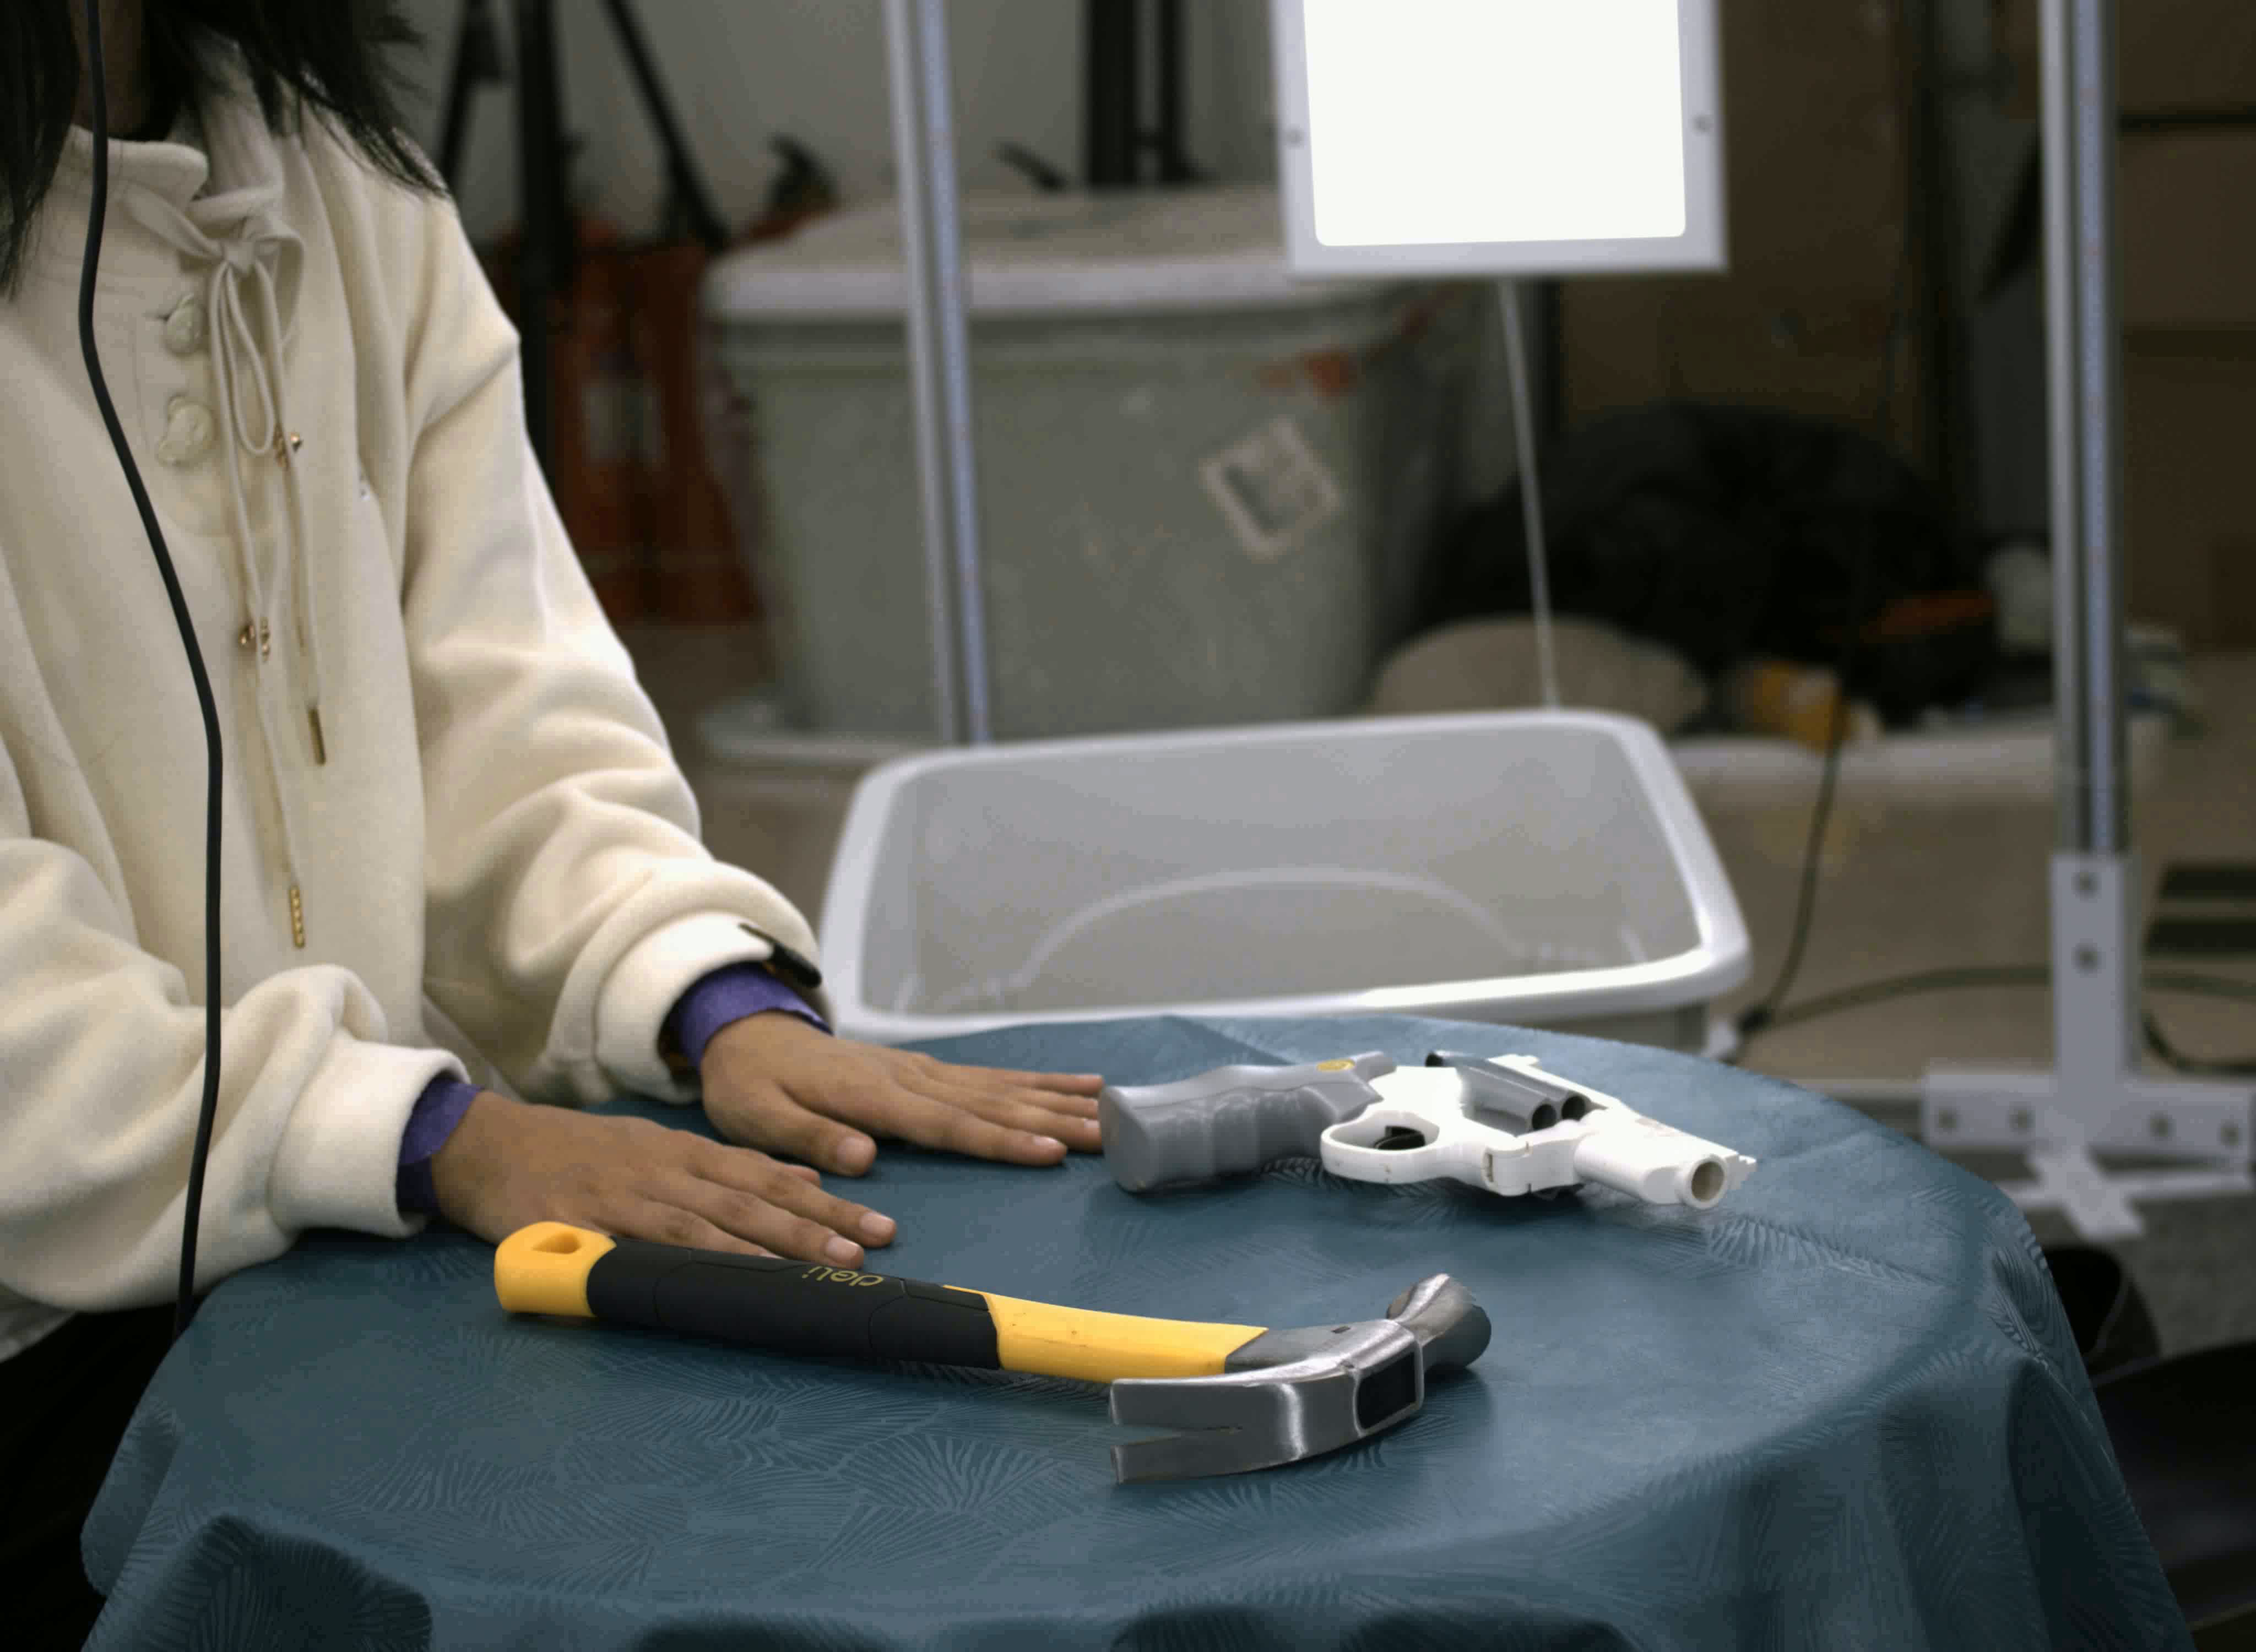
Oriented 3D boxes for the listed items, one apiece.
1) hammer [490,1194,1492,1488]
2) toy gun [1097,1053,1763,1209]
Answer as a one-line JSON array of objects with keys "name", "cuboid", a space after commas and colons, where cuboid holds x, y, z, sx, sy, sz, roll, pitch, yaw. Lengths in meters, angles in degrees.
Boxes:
[{"name": "hammer", "cuboid": [-0.062, 0.152, 1.735, 0.345, 0.032, 0.128, 7, 20, 34]}, {"name": "toy gun", "cuboid": [0.097, 0.107, 1.861, 0.138, 0.039, 0.213, -13, 16, -31]}]
